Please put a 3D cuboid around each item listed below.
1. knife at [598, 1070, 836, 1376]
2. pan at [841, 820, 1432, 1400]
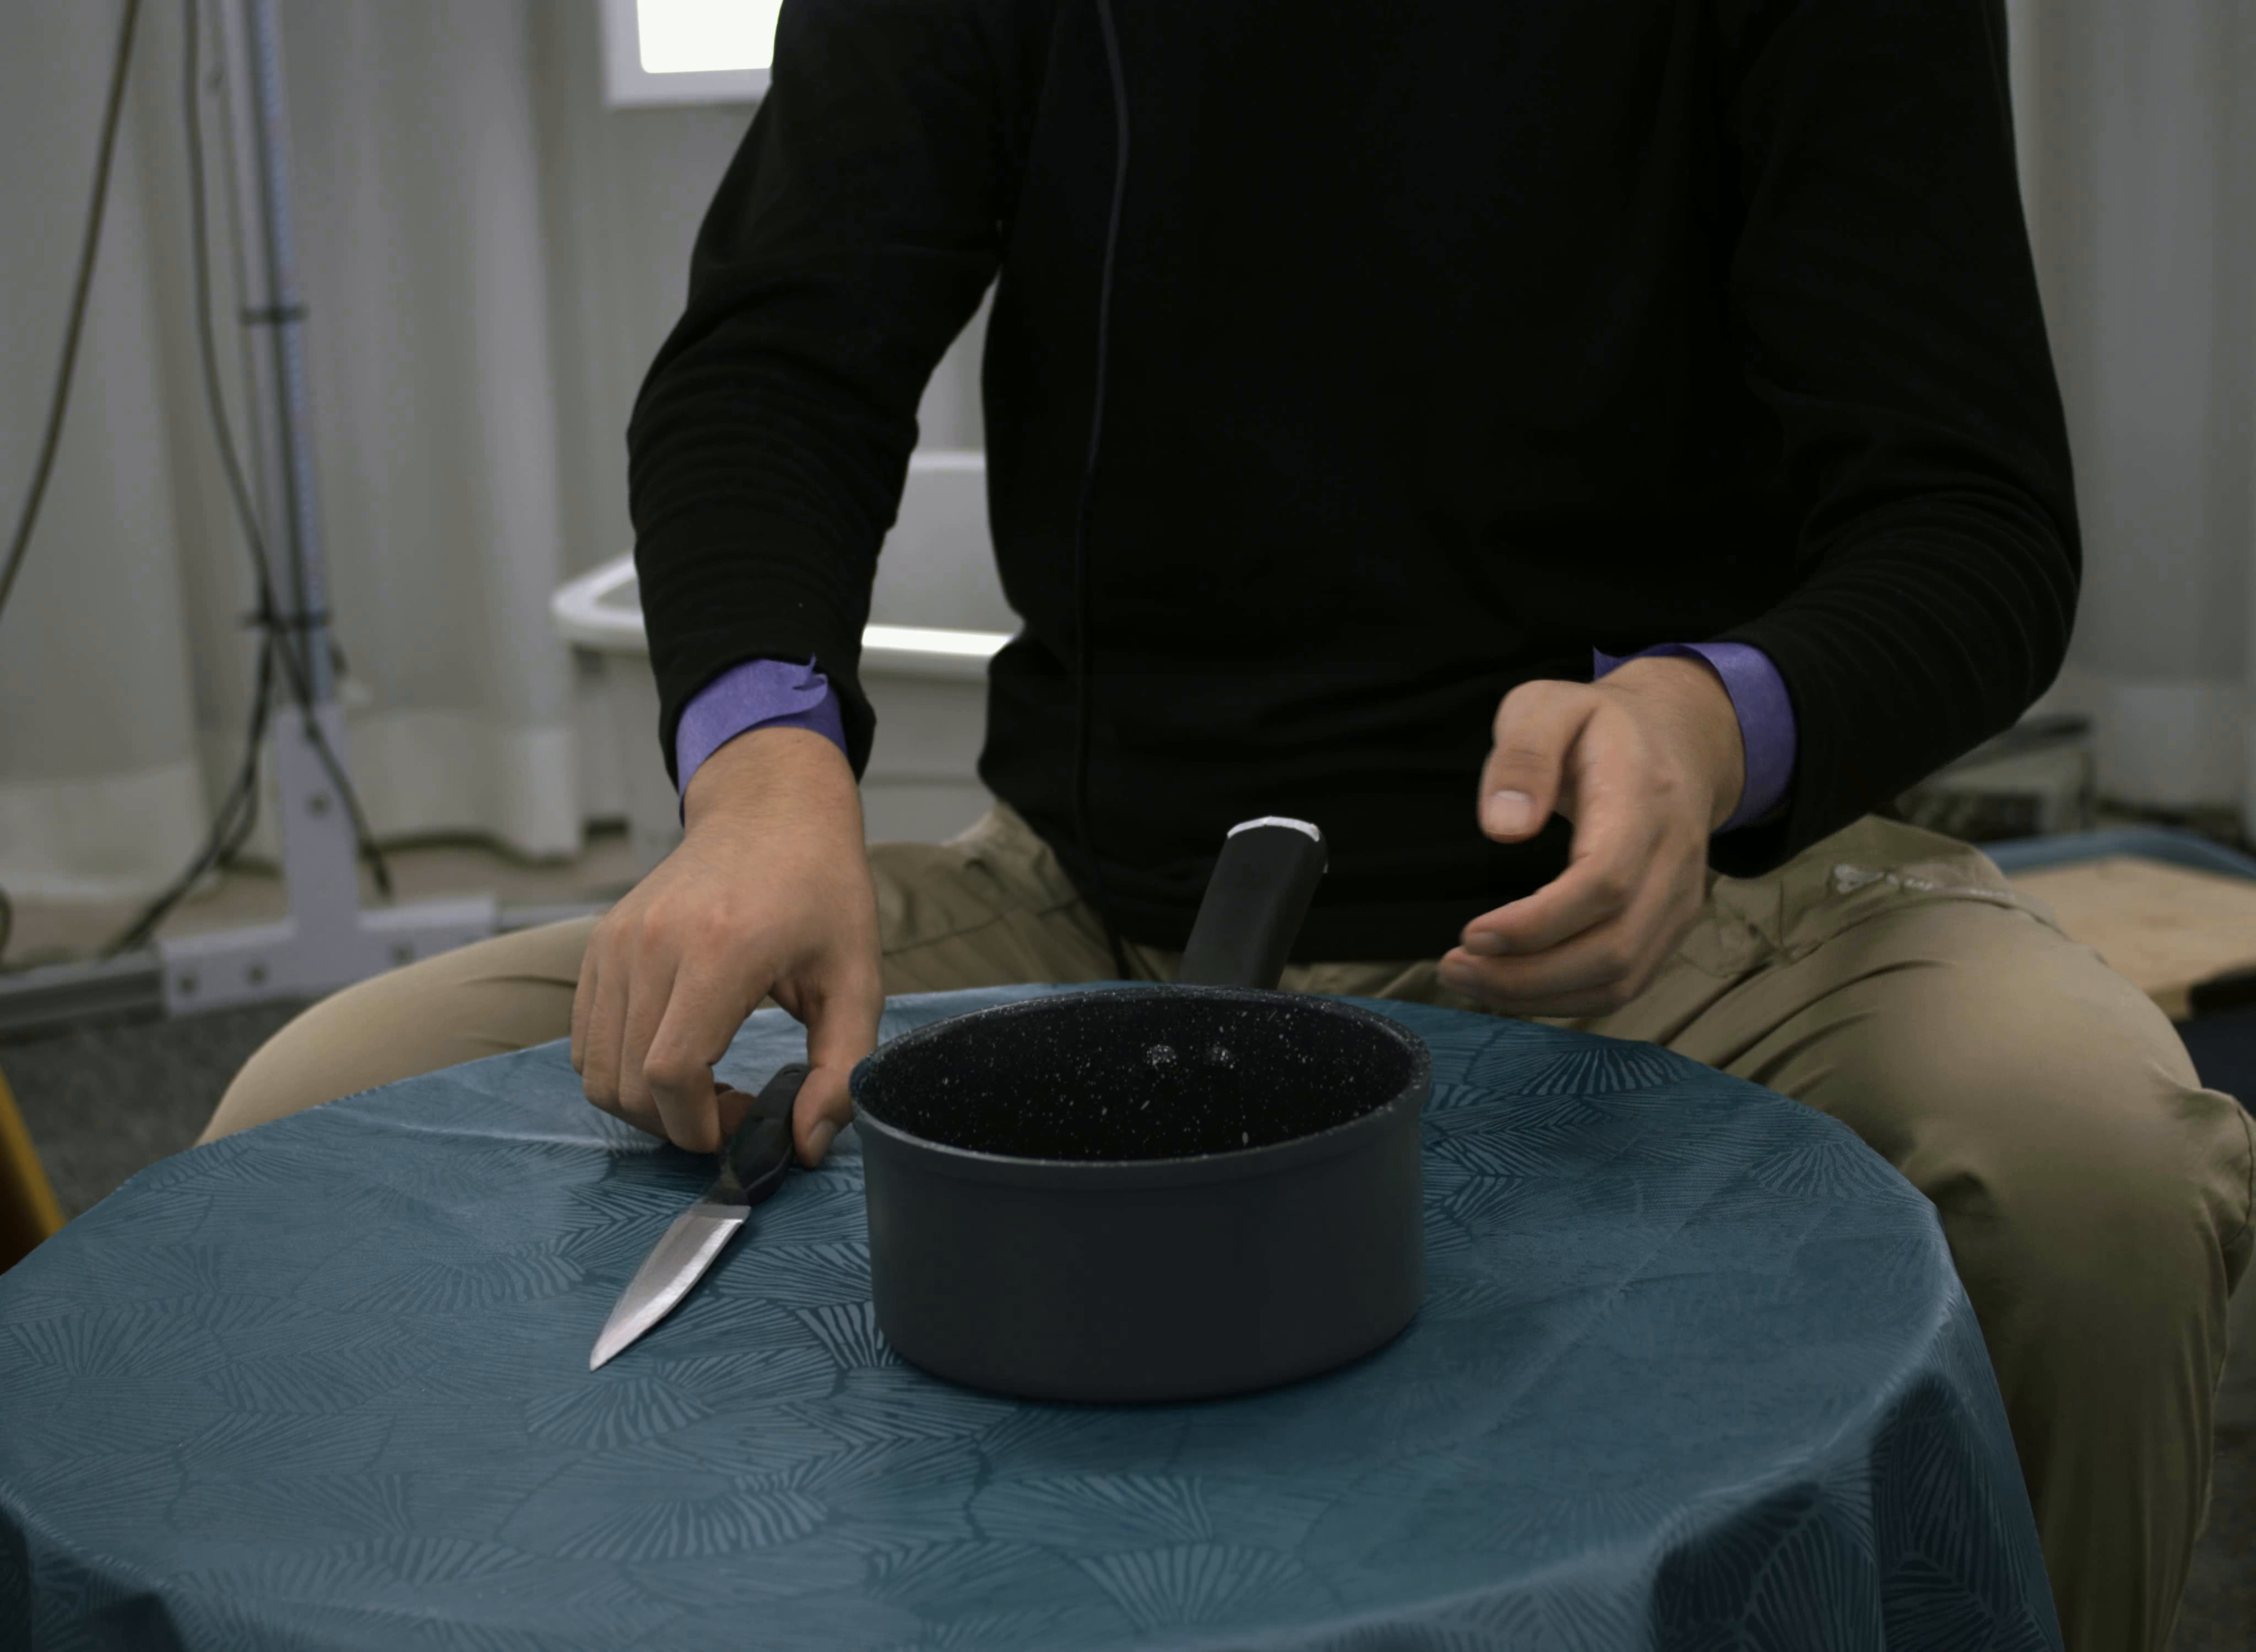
[{"bbox_3d":[-0.130,0.122,1.691,0.024,0.016,0.239,0,18,12],"label":"knife"},{"bbox_3d":[0.023,0.083,1.669,0.172,0.086,0.330,1,16,15],"label":"pan"}]
